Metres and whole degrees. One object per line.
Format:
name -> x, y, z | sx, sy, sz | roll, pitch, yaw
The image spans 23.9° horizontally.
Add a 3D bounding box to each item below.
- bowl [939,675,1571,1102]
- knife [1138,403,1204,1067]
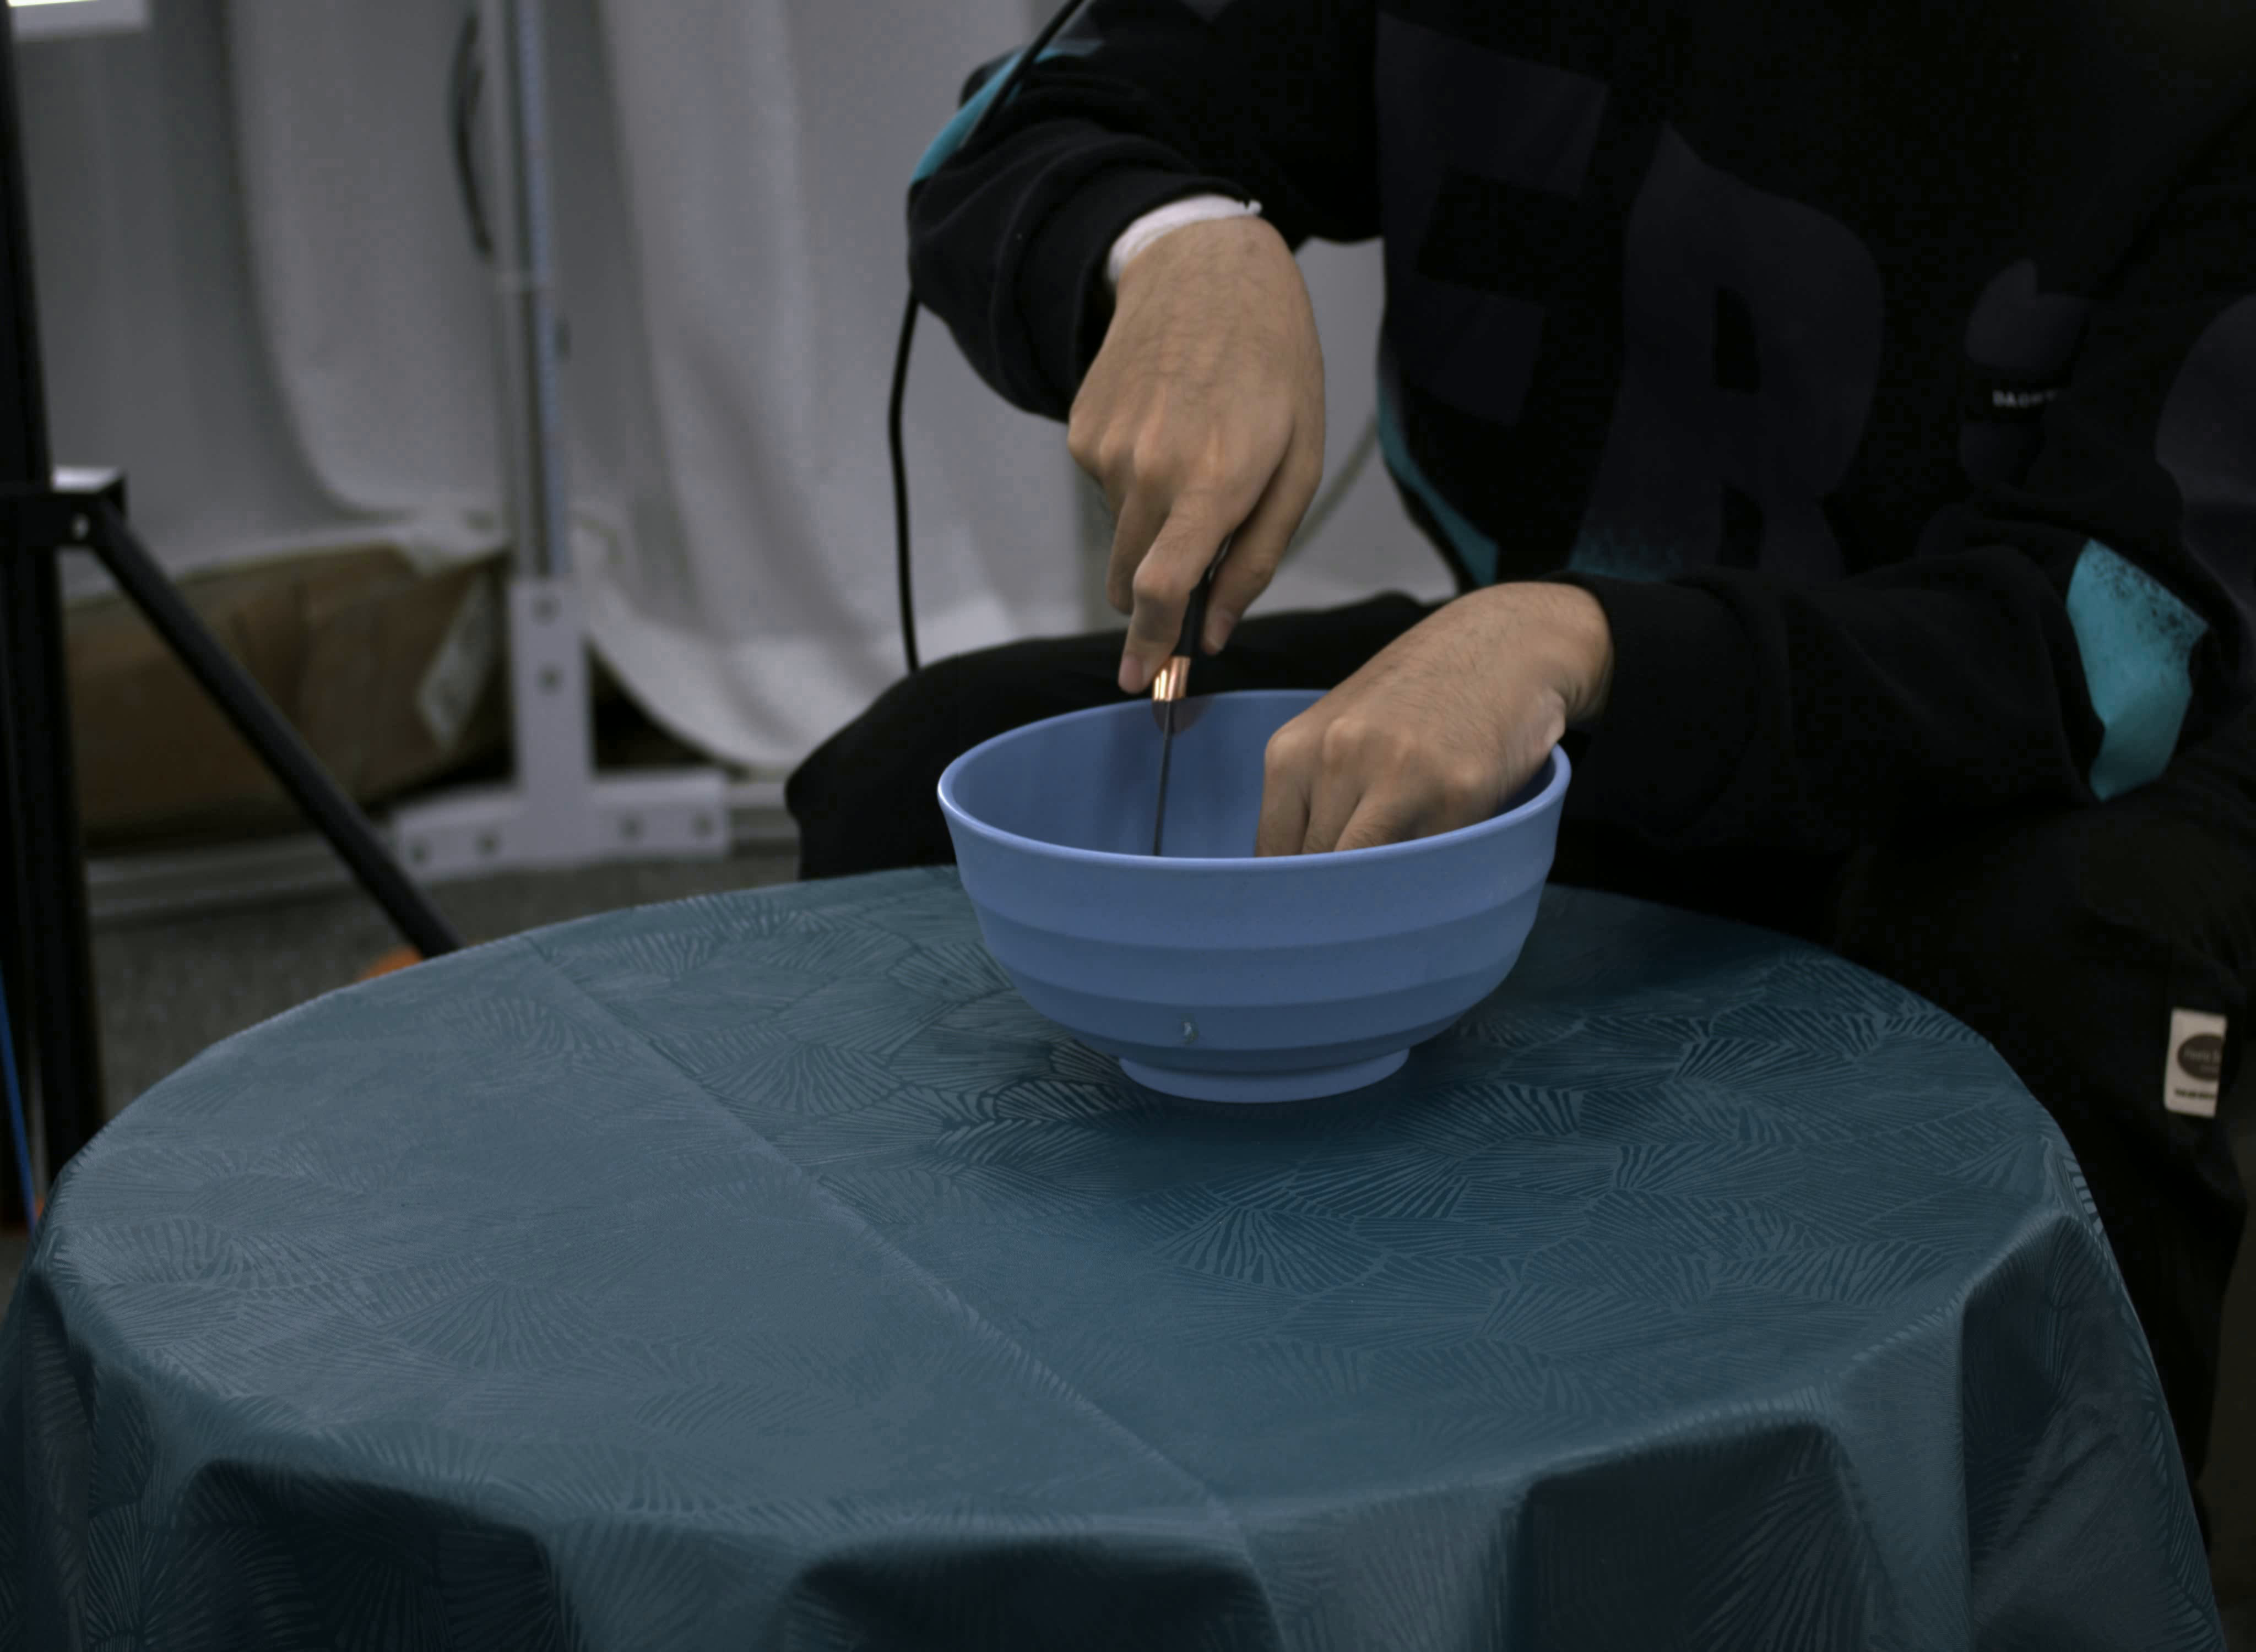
bowl -> 0.041, 0.026, 1.658 | 0.195, 0.095, 0.197 | -4, 19, 0
knife -> 0.012, -0.031, 1.702 | 0.017, 0.227, 0.026 | 4, -23, -1
